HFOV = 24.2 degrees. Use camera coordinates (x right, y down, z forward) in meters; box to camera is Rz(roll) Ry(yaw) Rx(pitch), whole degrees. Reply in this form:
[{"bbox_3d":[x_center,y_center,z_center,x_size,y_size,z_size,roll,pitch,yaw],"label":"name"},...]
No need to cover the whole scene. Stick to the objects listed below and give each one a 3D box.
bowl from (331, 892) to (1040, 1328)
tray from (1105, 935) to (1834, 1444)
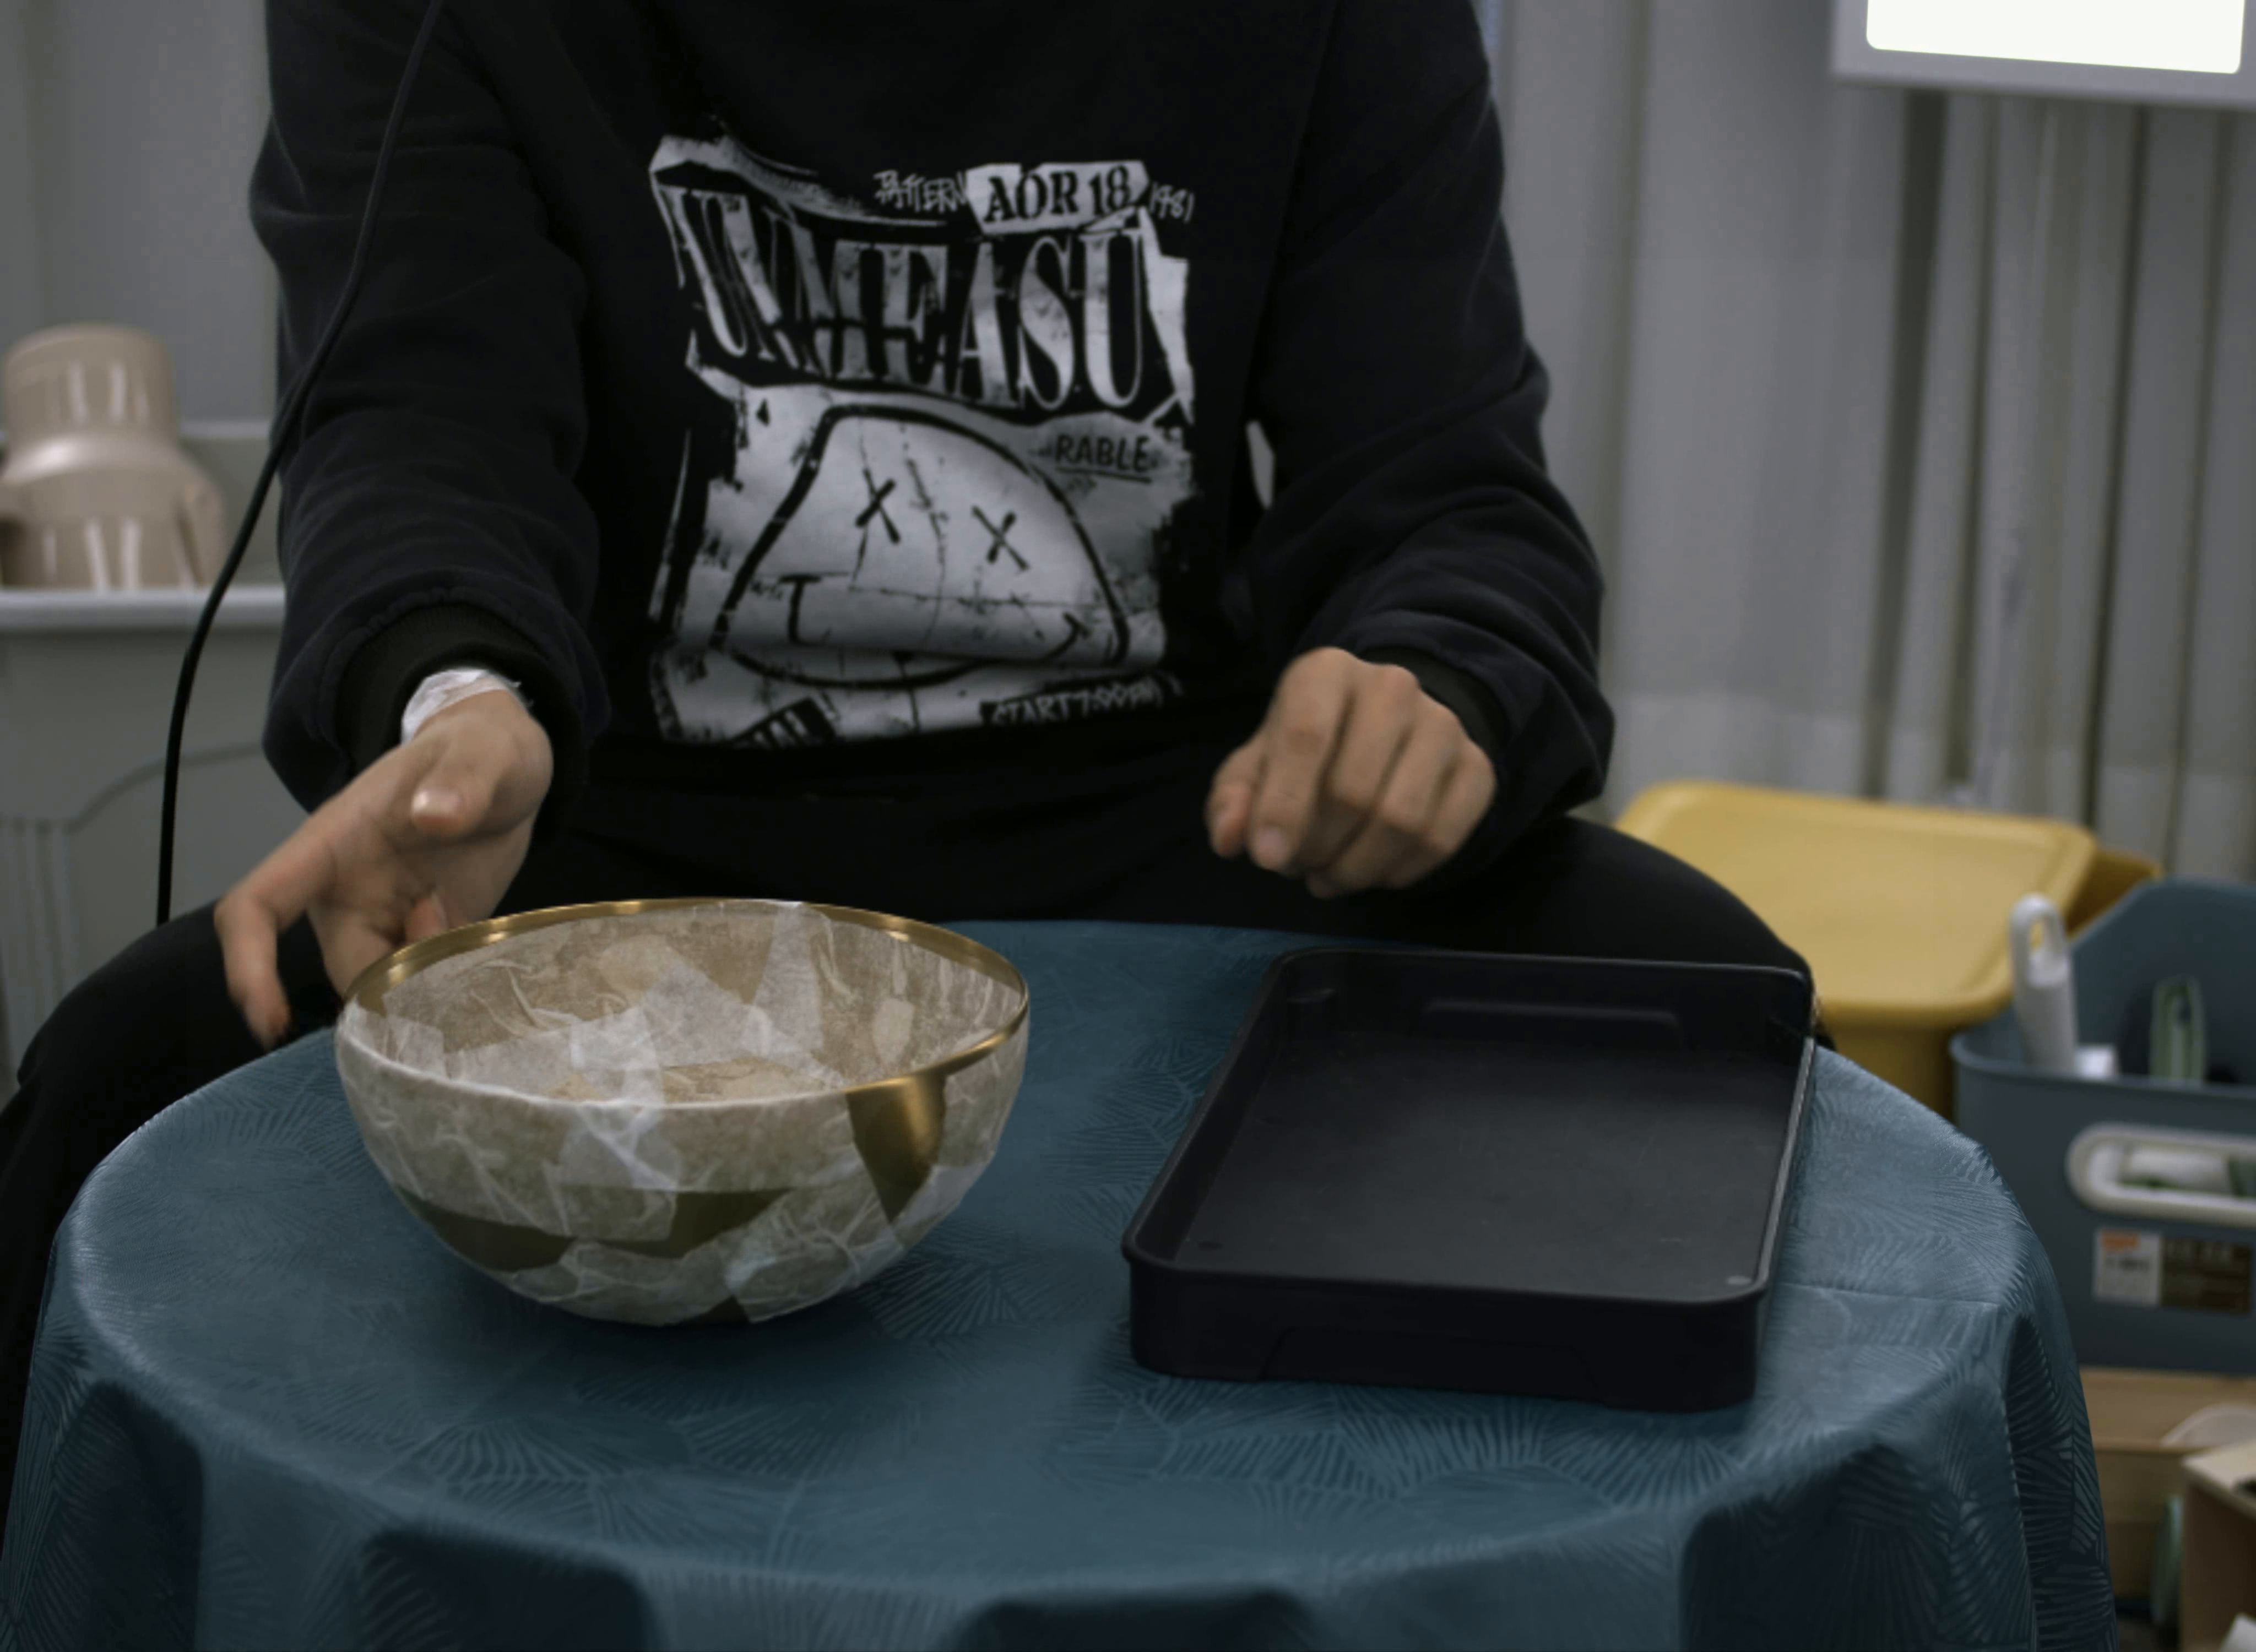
[{"bbox_3d":[-0.125,0.090,1.530,0.214,0.095,0.213,0,16,1],"label":"bowl"},{"bbox_3d":[0.111,0.104,1.607,0.183,0.037,0.317,5,18,11],"label":"tray"}]
